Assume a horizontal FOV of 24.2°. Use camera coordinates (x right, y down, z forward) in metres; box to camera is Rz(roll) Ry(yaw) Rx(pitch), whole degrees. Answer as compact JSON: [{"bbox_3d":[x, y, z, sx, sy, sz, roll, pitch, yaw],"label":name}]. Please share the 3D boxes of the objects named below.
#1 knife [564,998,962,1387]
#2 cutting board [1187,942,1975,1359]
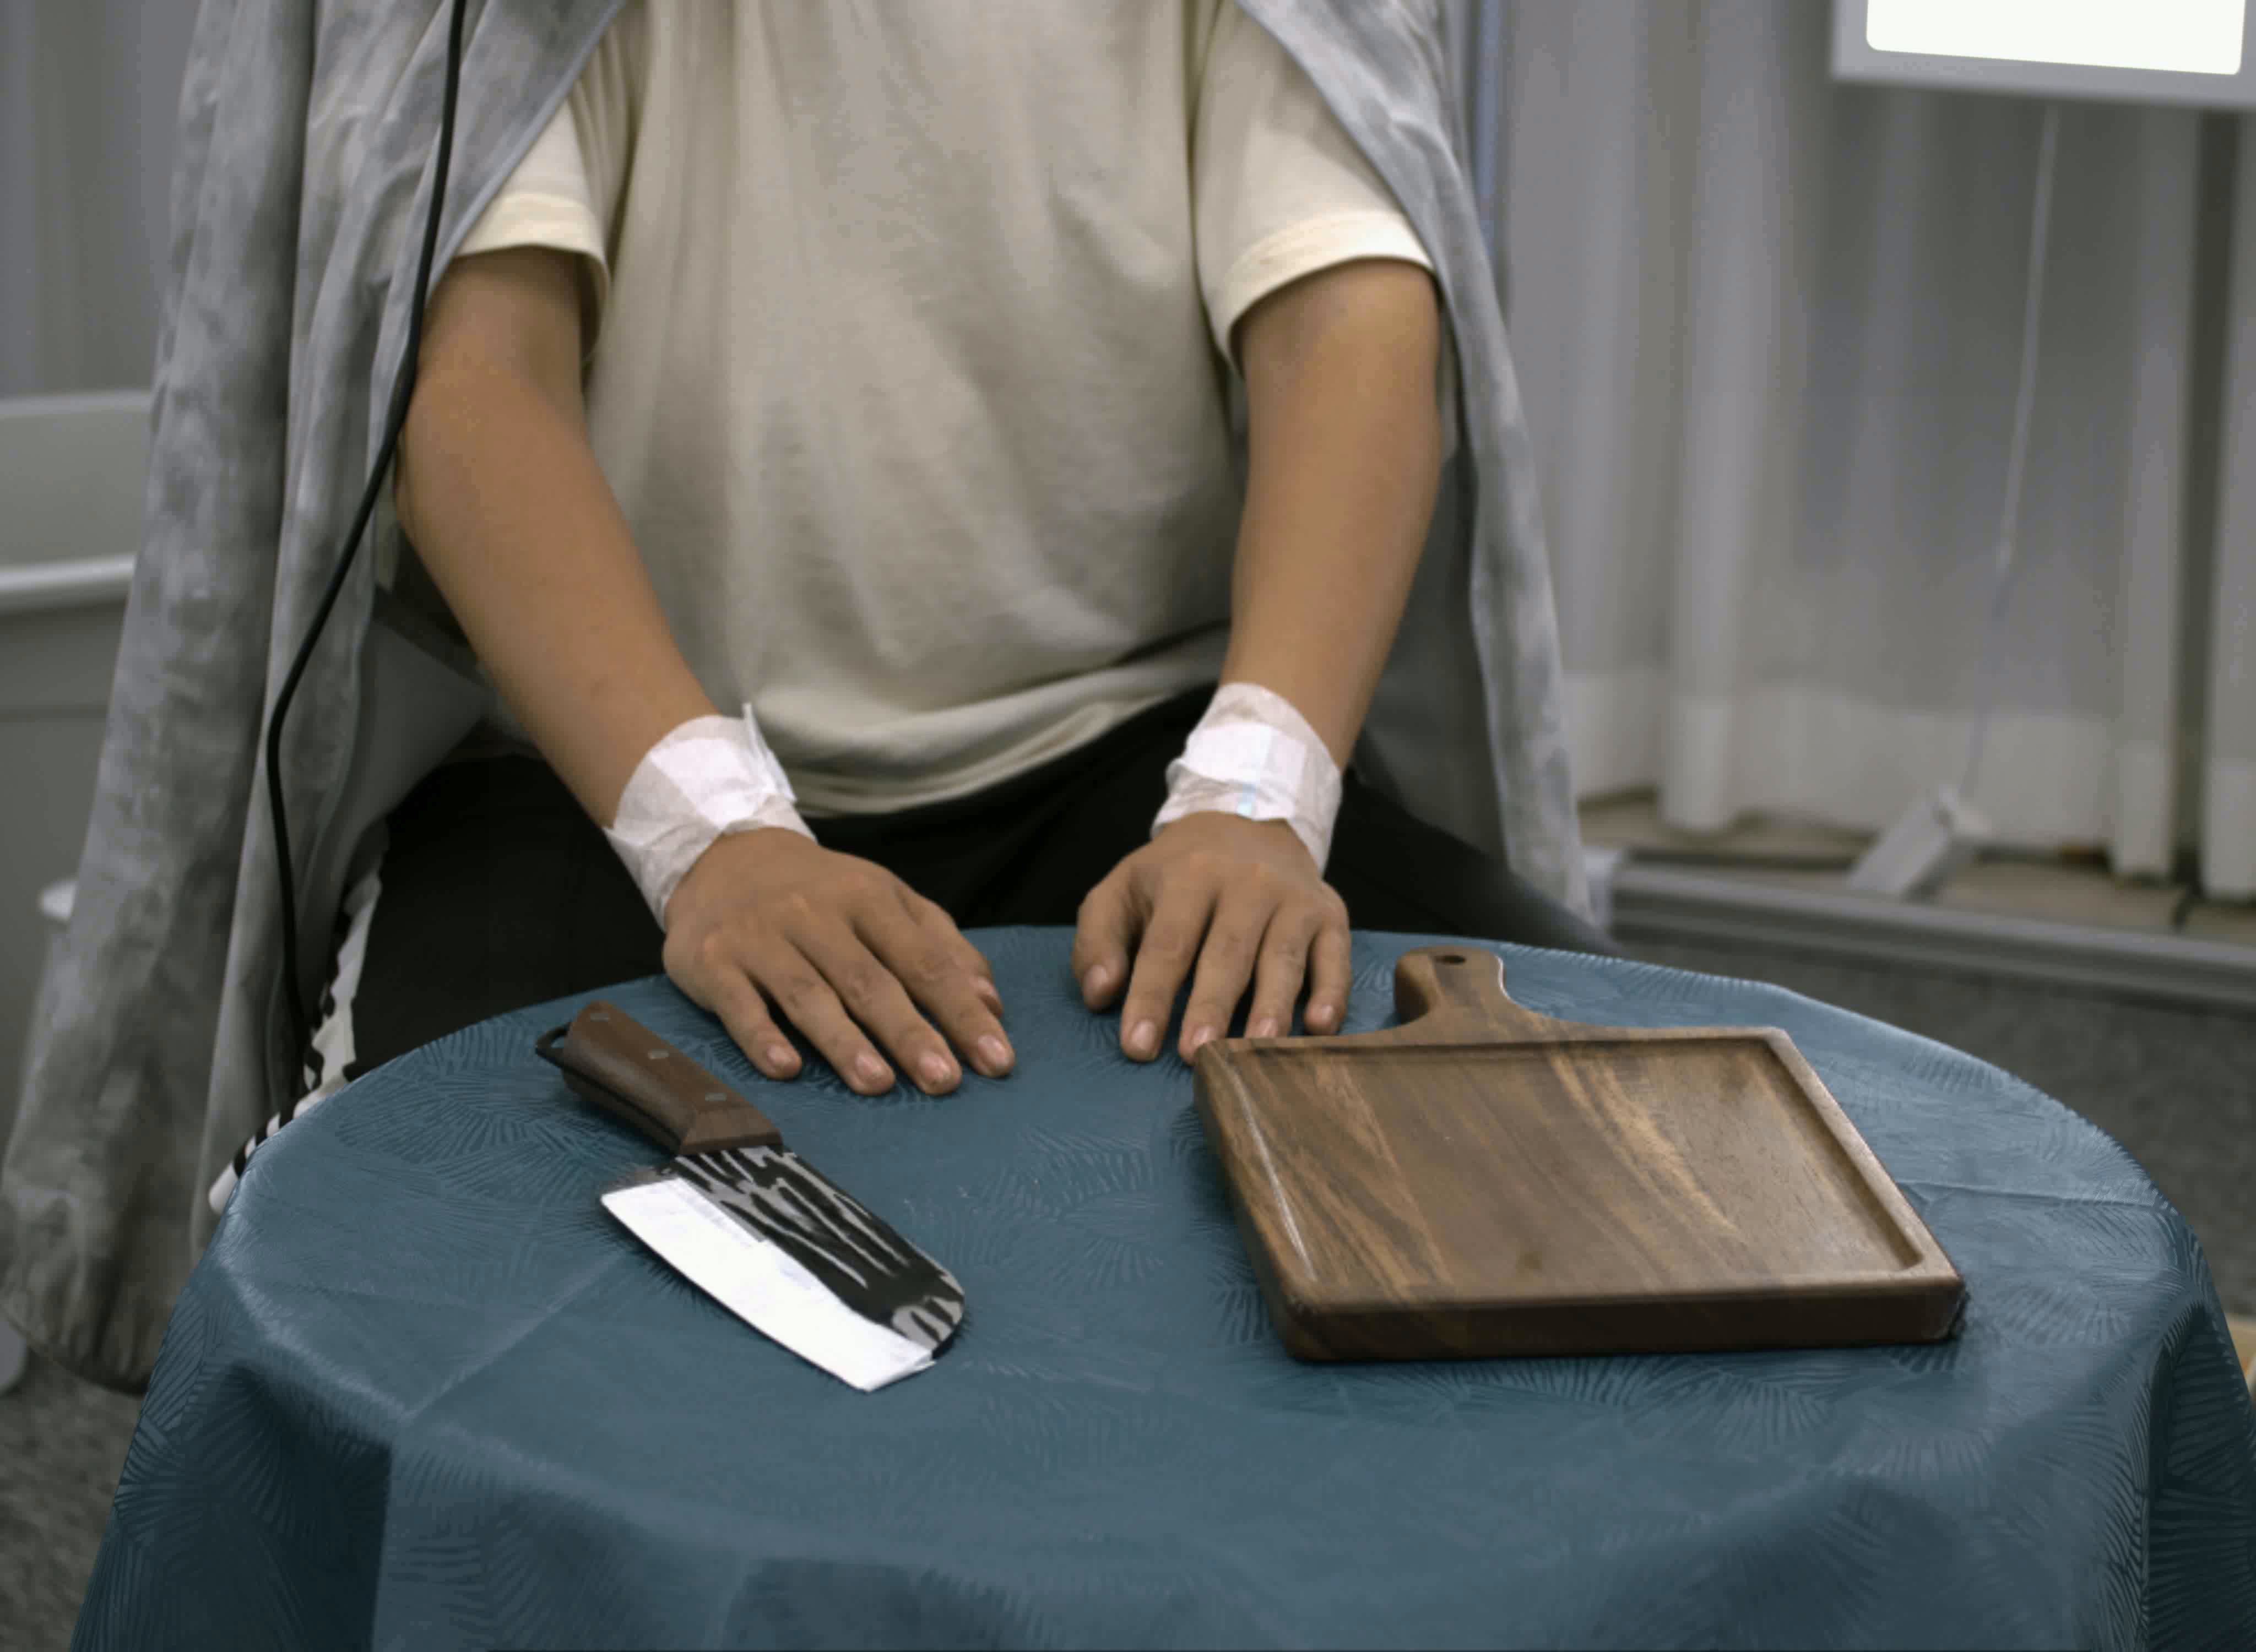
[{"bbox_3d":[-0.123,0.110,1.593,0.068,0.024,0.295,-10,21,-26],"label":"knife"},{"bbox_3d":[0.125,0.094,1.655,0.201,0.023,0.349,-1,15,-7],"label":"cutting board"}]
